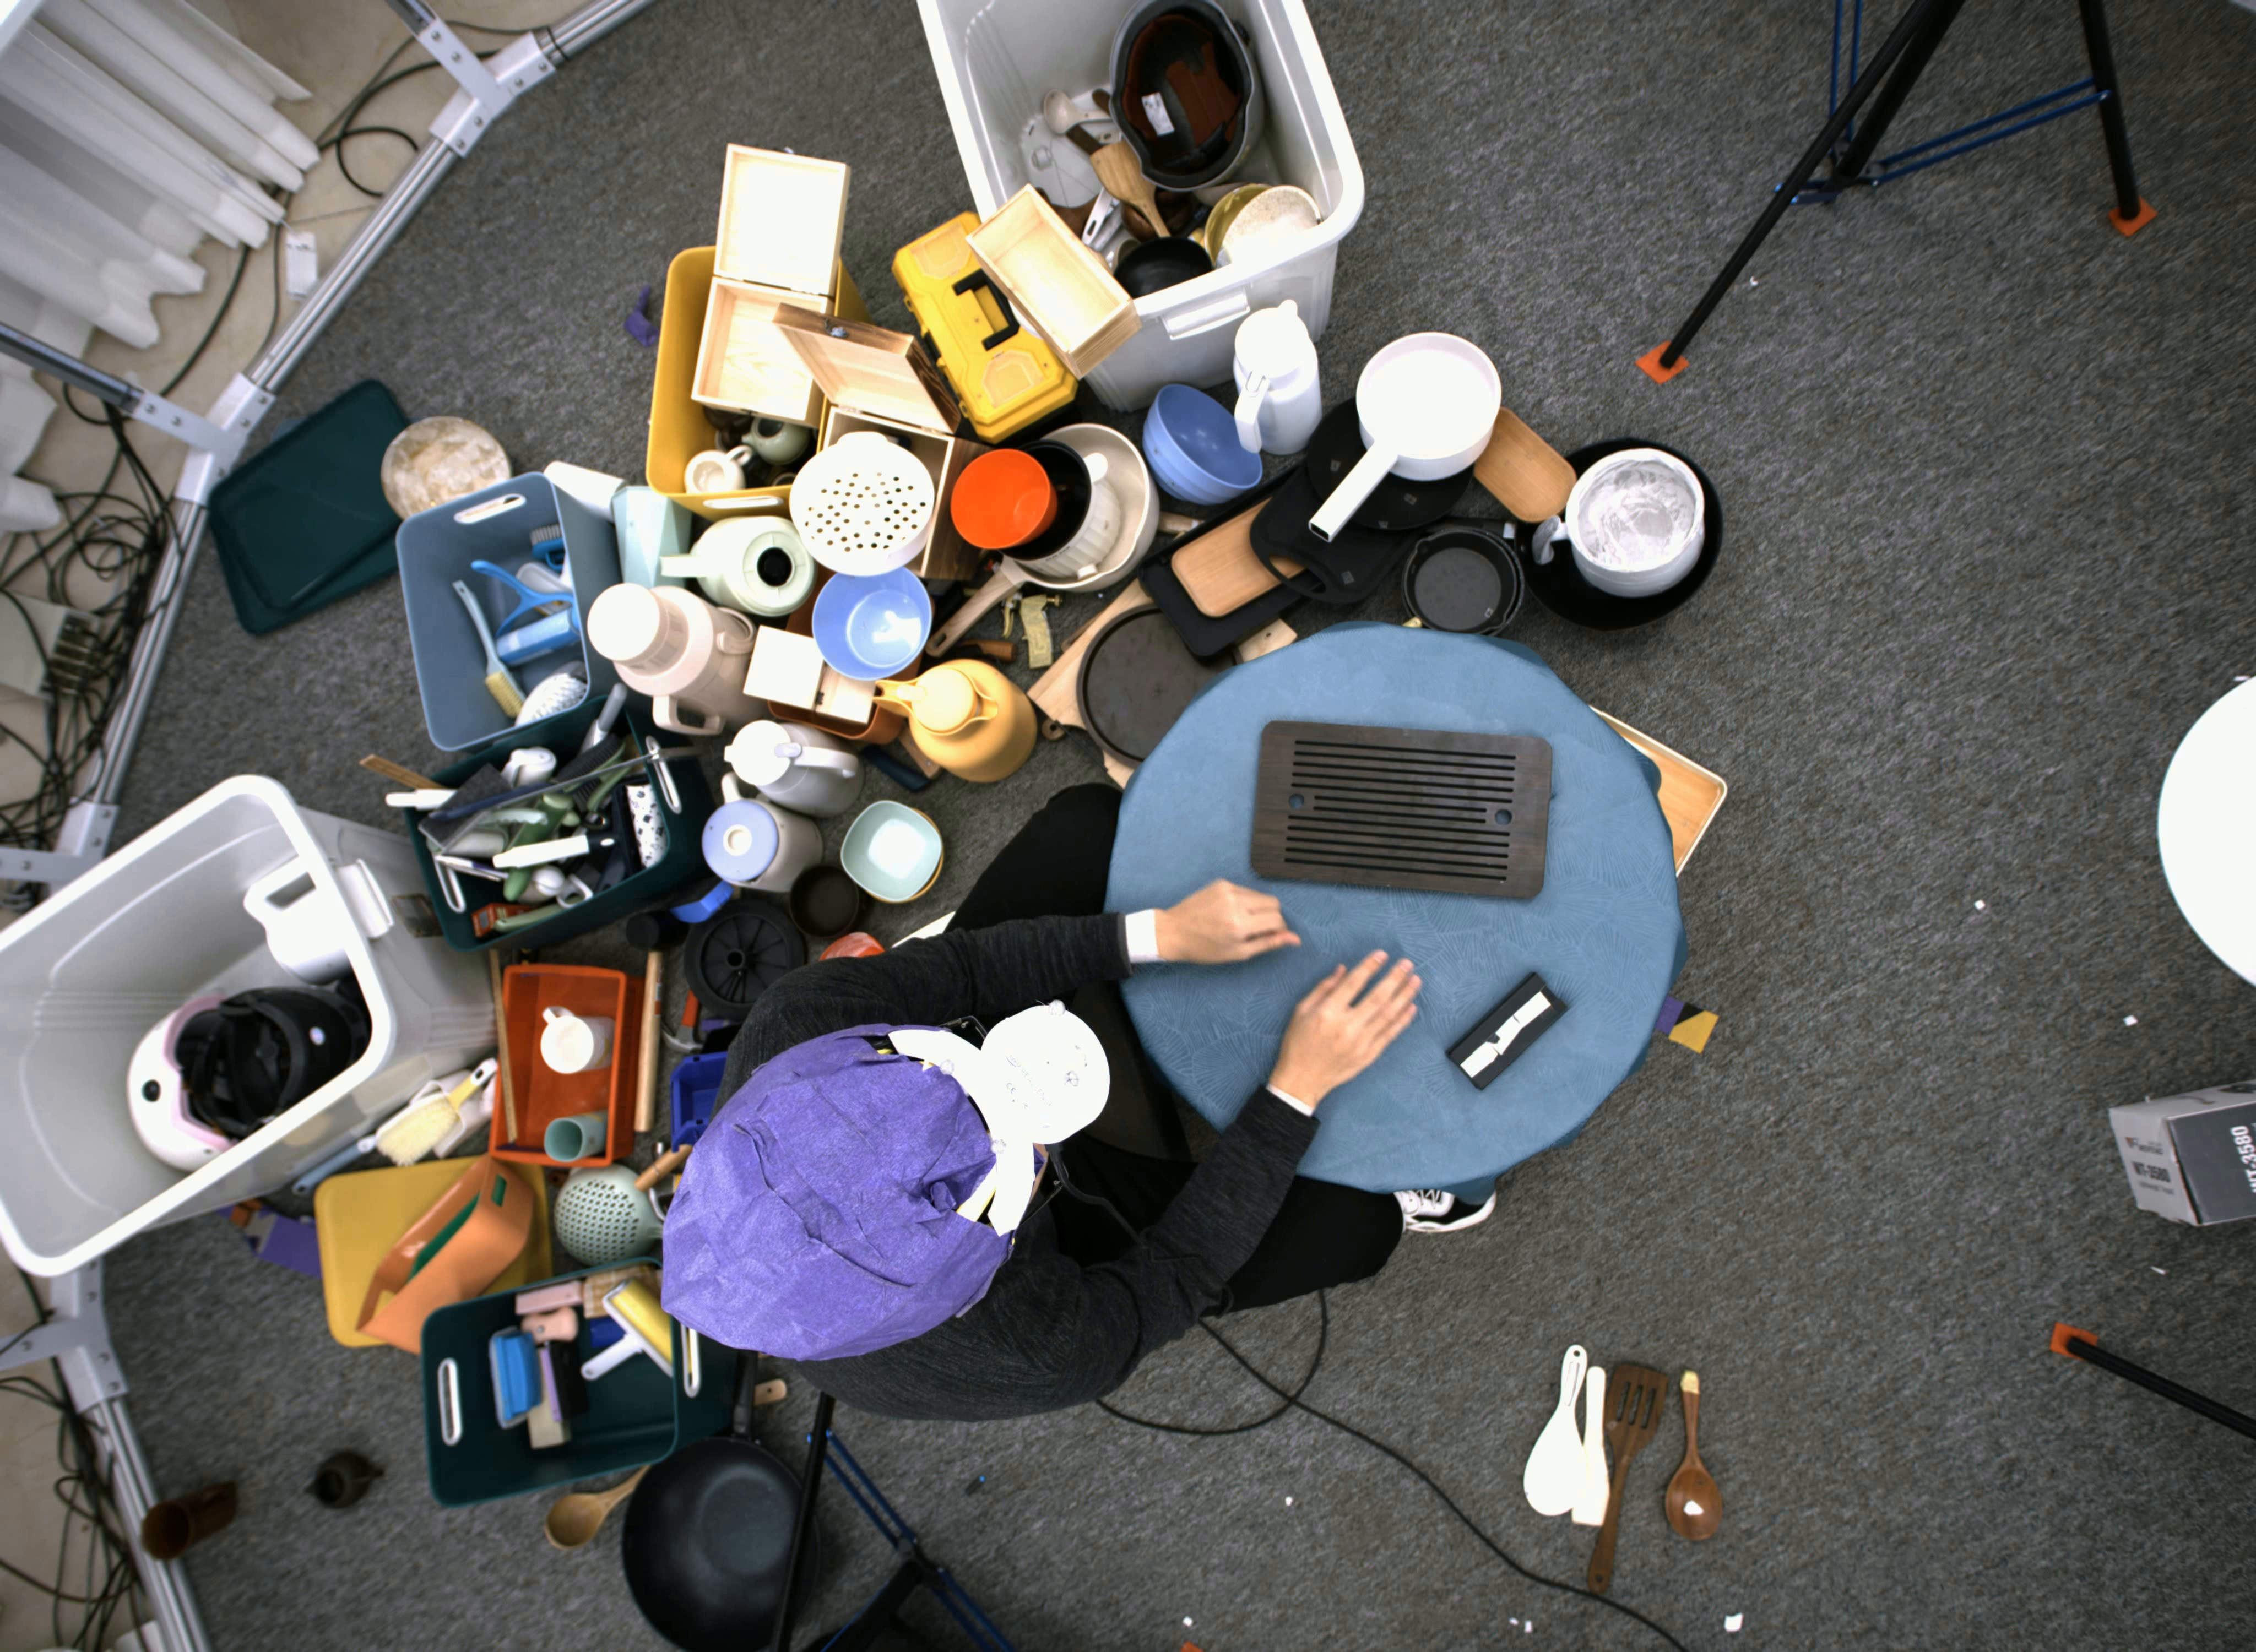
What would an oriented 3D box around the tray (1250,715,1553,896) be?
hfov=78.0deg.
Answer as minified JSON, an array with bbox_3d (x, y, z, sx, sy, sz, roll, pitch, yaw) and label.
[{"bbox_3d":[0.286,-0.024,1.453,0.307,0.018,0.169,5,88,11],"label":"tray"}]

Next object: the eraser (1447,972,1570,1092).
[{"bbox_3d":[0.391,0.208,1.416,0.126,0.030,0.053,-45,77,6],"label":"eraser"}]
